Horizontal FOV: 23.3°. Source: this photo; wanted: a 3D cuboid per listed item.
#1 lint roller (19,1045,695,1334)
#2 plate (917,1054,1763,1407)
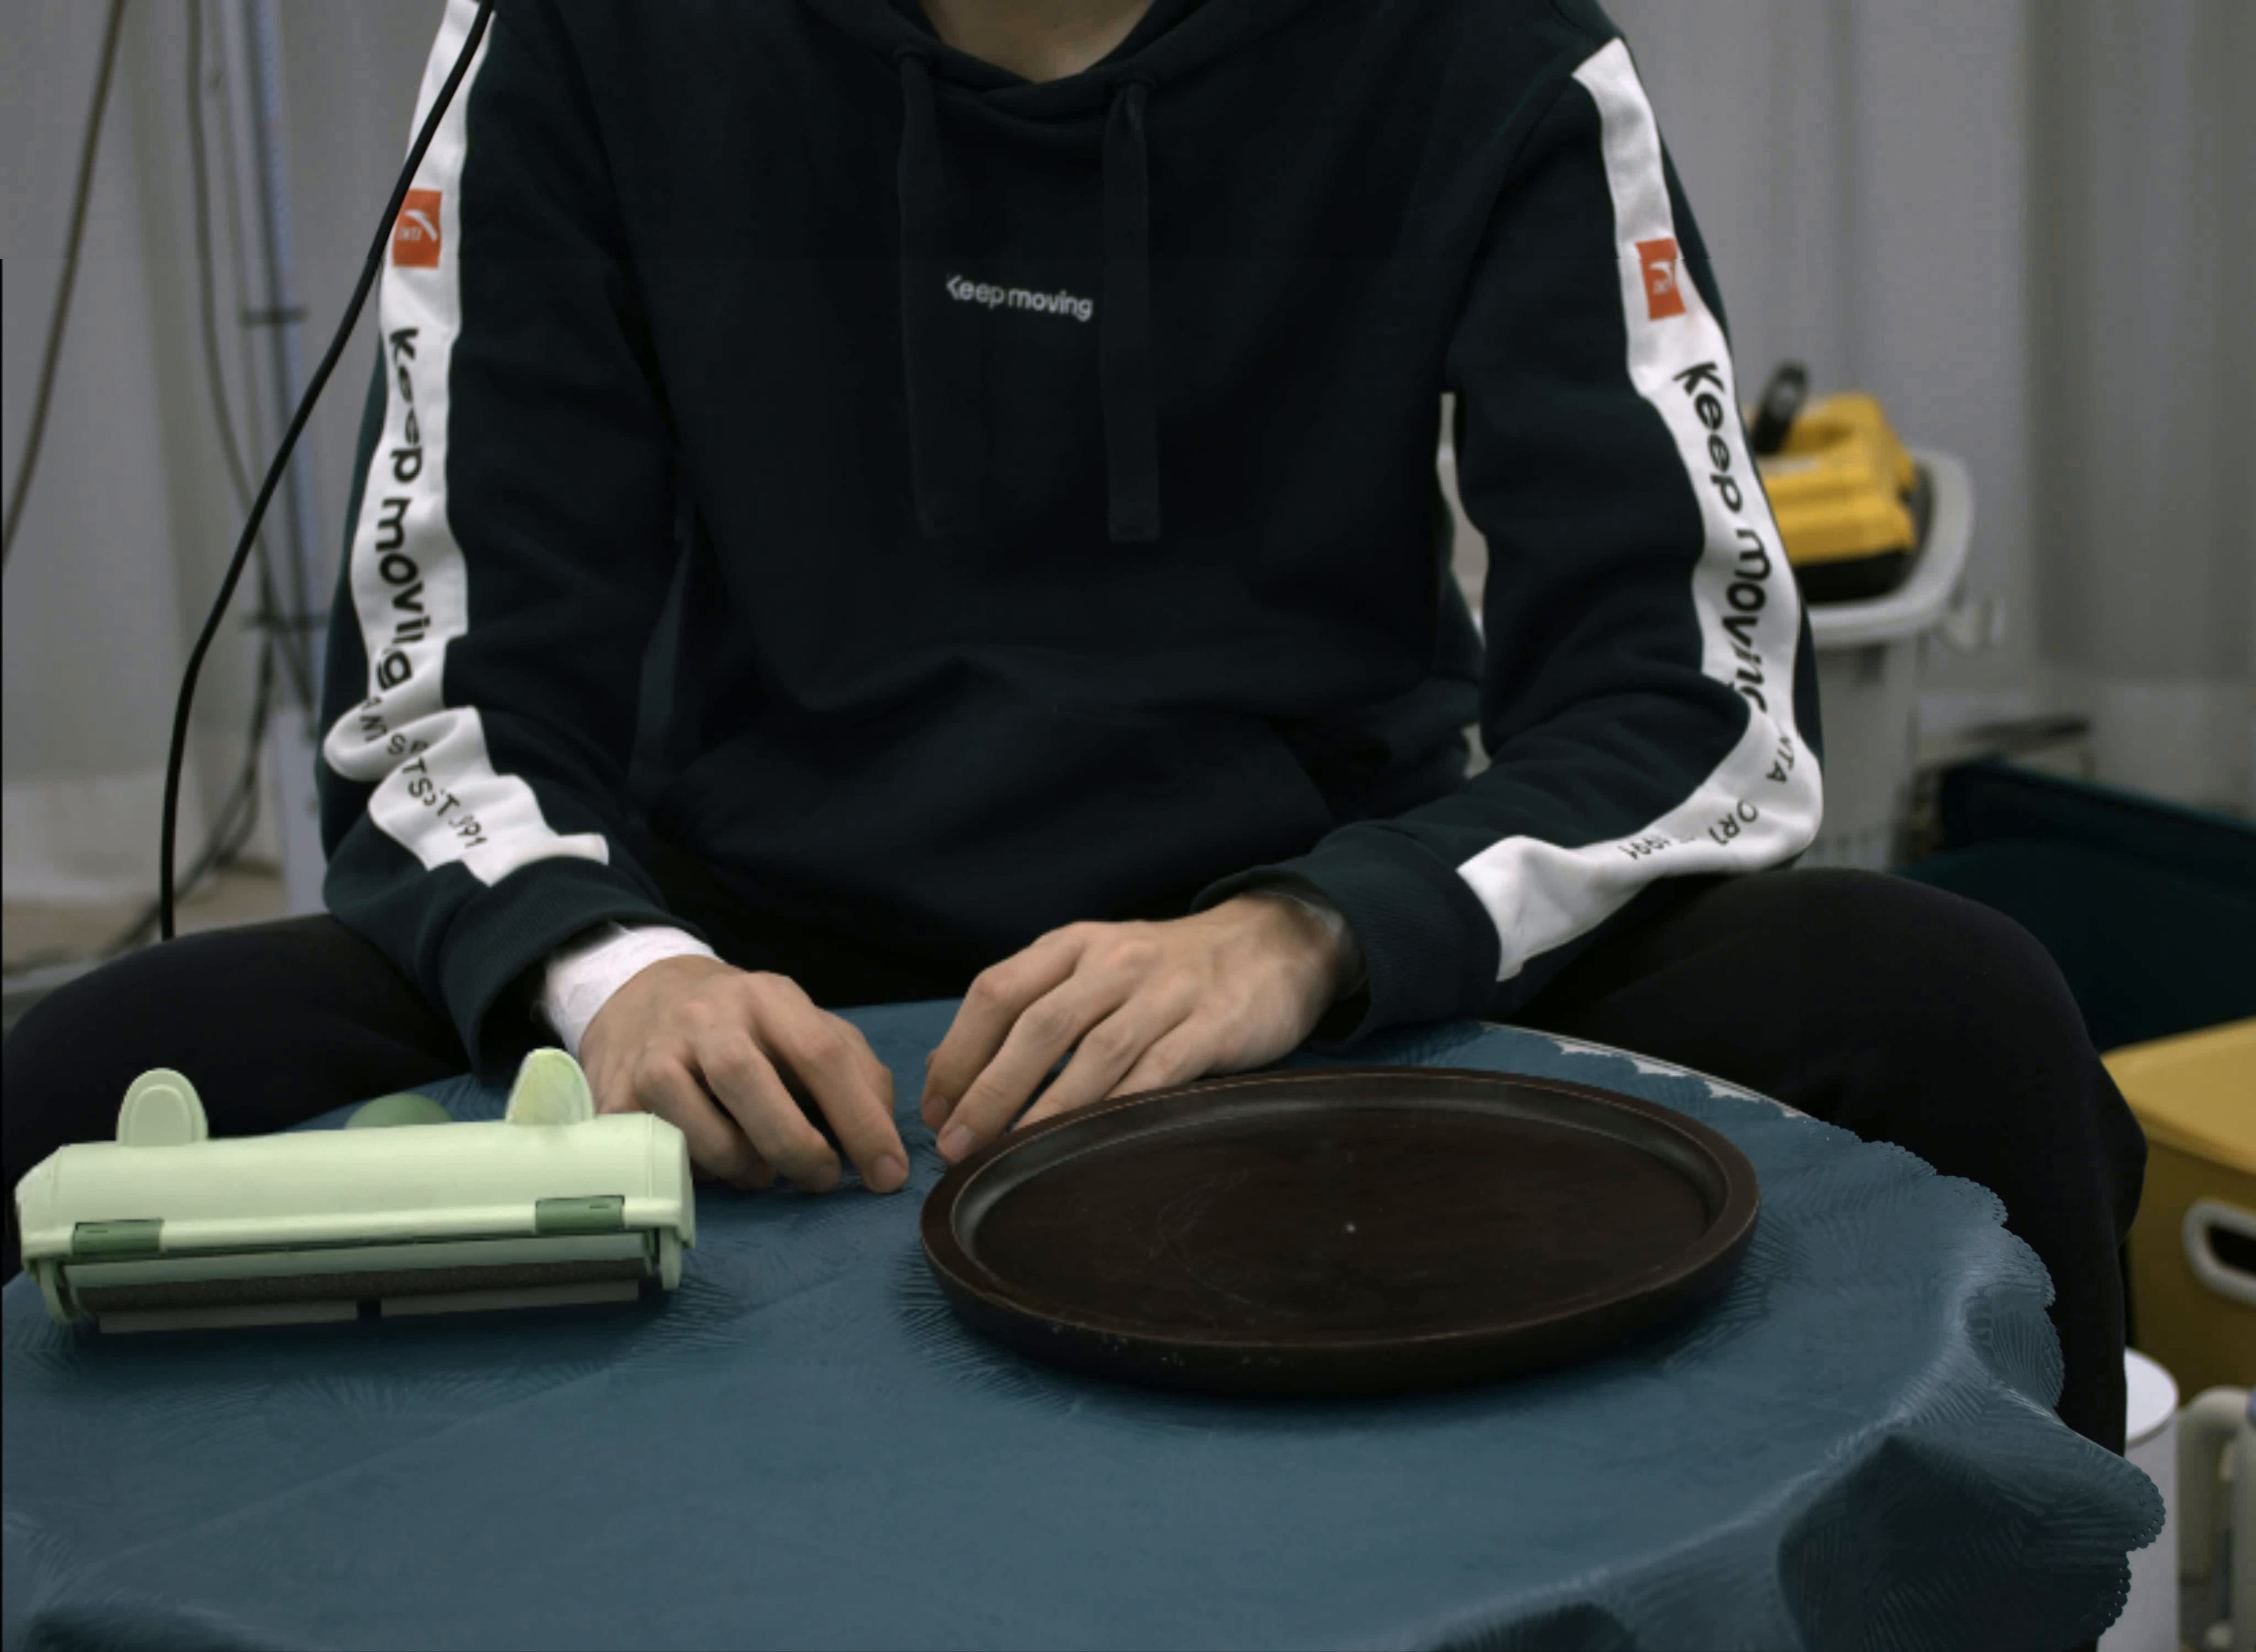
[{"bbox_3d":[-0.231,0.094,1.684,0.198,0.082,0.185,-3,18,-1],"label":"lint roller"},{"bbox_3d":[0.063,0.121,1.633,0.254,0.029,0.256,-4,16,1],"label":"plate"}]
